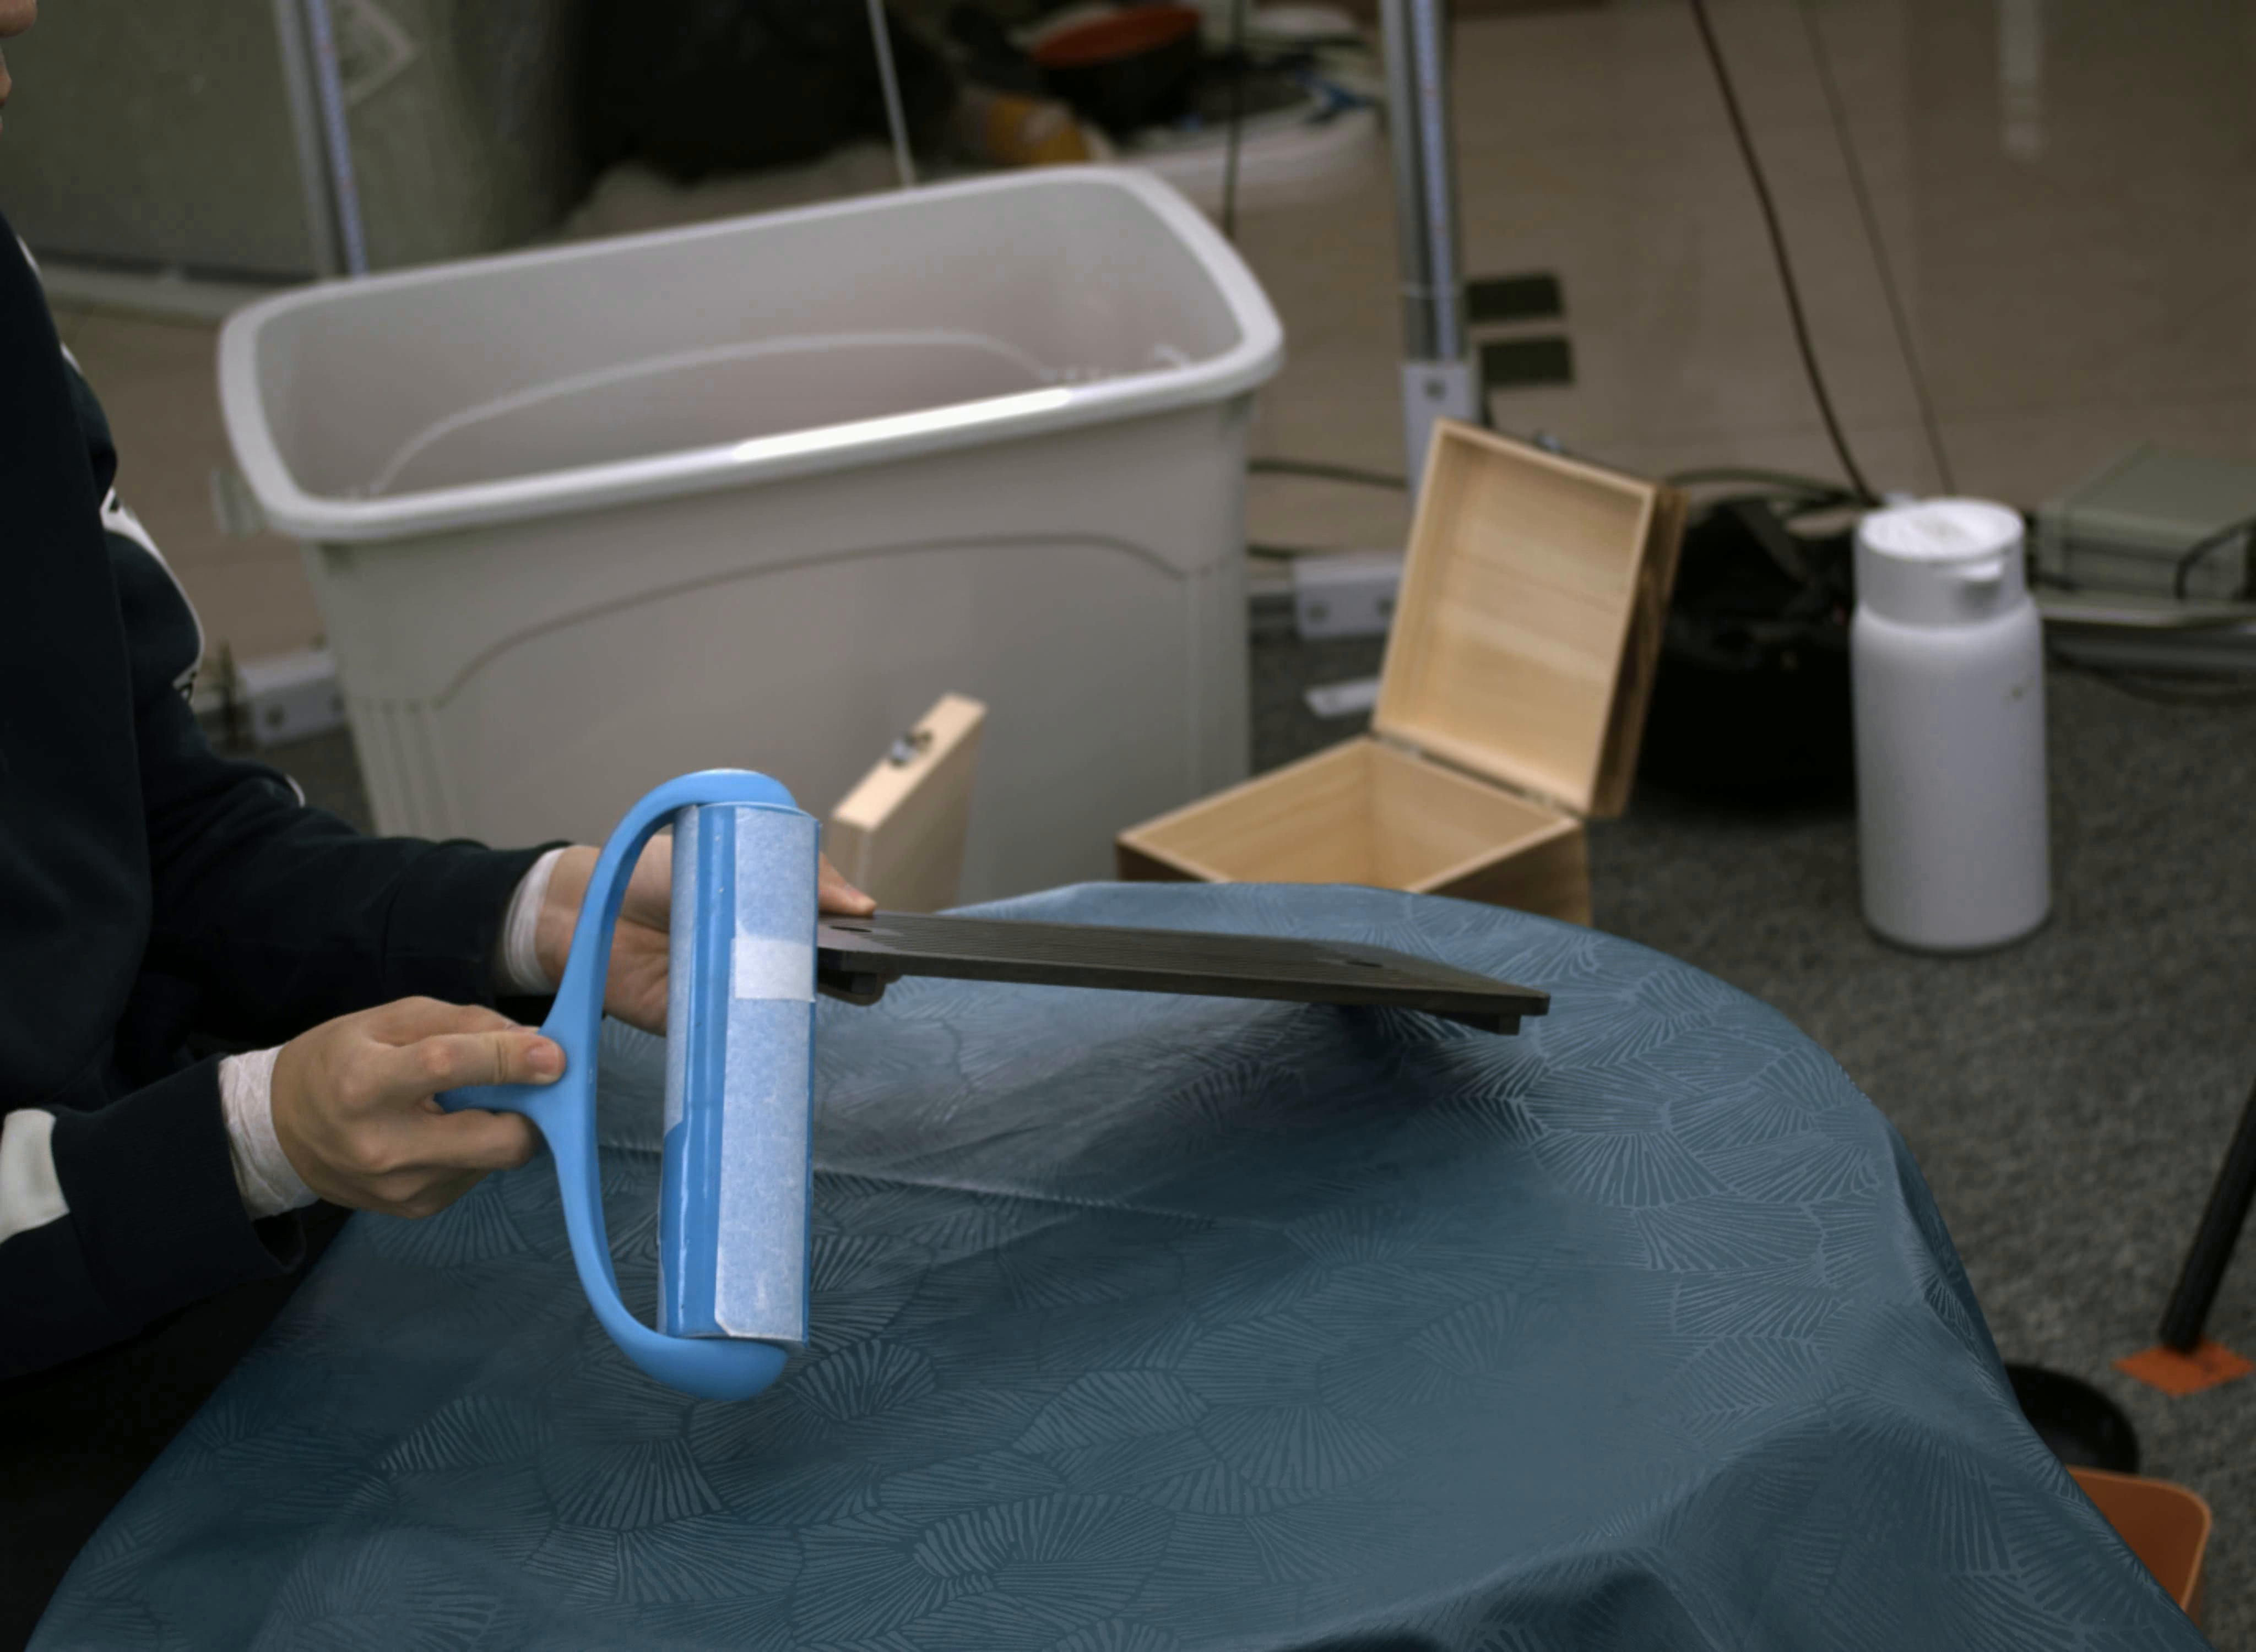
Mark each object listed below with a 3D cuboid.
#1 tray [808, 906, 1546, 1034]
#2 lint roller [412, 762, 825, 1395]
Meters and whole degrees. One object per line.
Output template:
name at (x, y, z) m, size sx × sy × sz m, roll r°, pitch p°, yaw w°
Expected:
tray at (-0.008, 0.053, 2.161) m, size 0.306 × 0.019 × 0.169 m, roll 4°, pitch 4°, yaw -24°
lint roller at (-0.191, 0.096, 2.022) m, size 0.180 × 0.227 × 0.068 m, roll -9°, pitch -16°, yaw 22°
